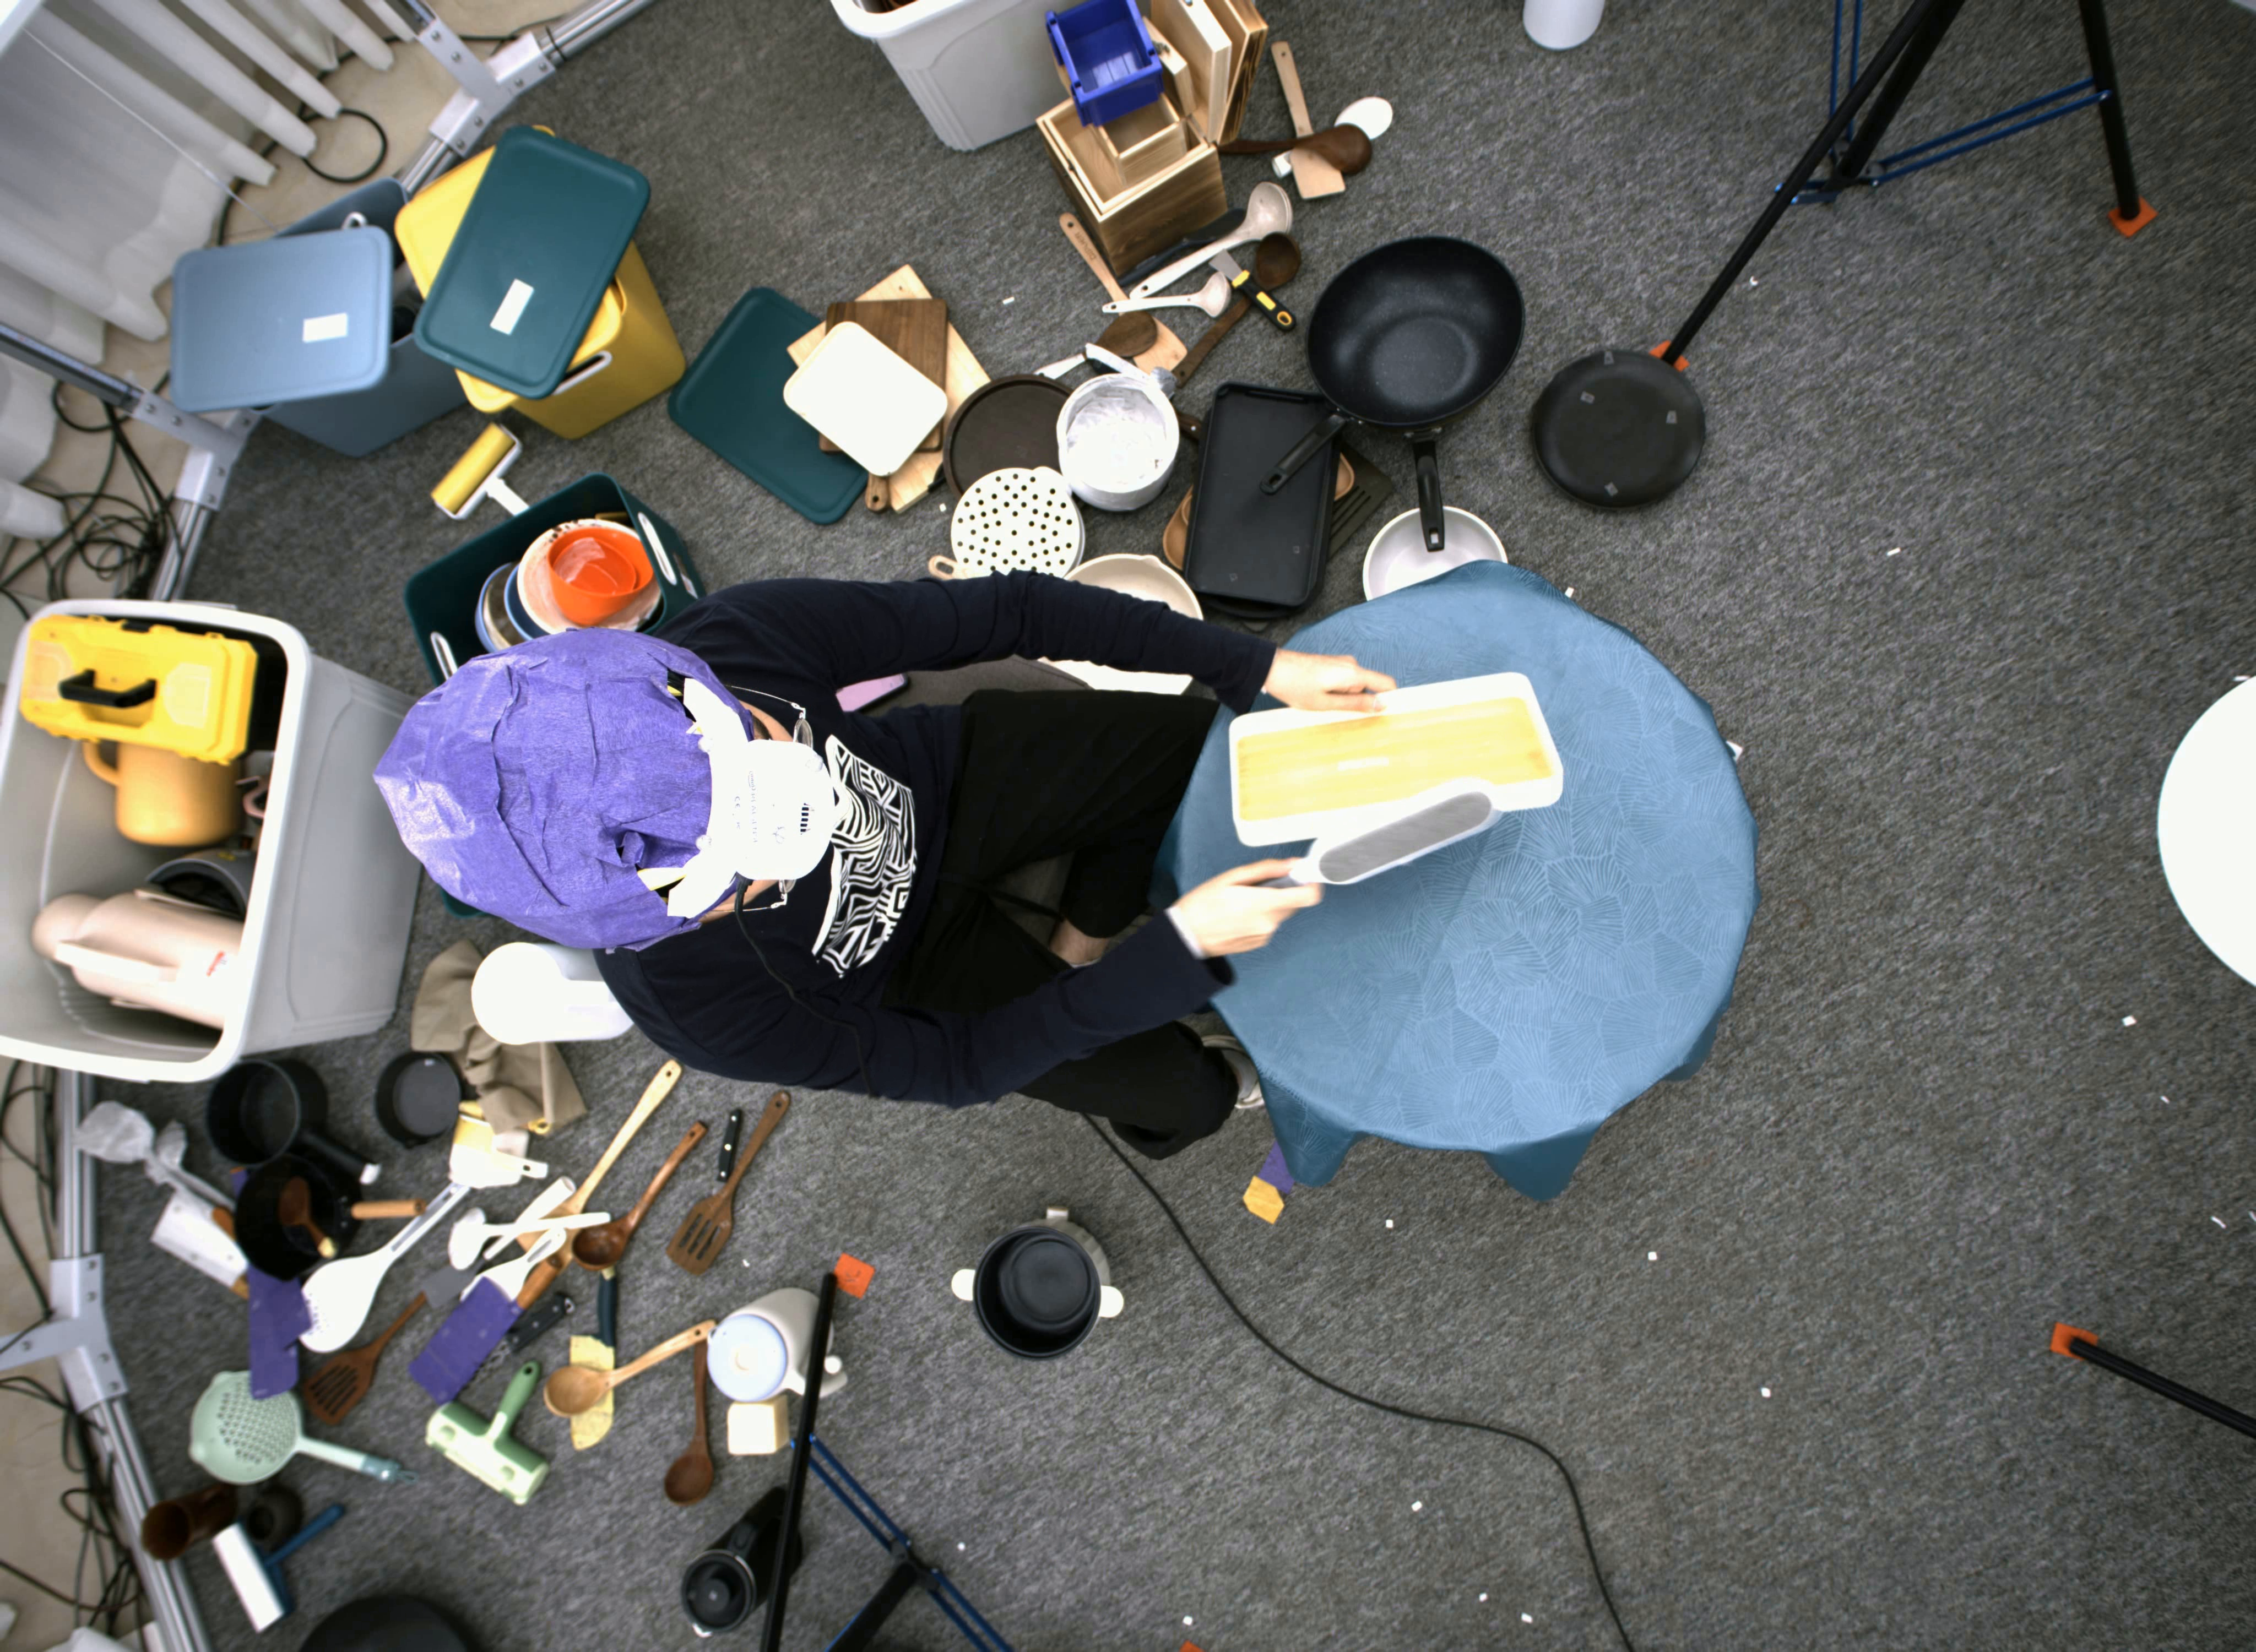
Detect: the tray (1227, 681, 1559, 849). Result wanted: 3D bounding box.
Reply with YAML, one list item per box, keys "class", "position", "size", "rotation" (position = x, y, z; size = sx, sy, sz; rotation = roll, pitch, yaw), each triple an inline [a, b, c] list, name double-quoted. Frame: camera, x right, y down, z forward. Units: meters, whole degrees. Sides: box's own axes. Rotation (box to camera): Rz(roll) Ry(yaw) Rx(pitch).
- class: "tray"
  position: [0.246, -0.062, 1.321]
  size: [0.302, 0.186, 0.028]
  rotation: [-8, 128, 10]

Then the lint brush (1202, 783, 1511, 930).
- class: "lint brush"
  position: [0.204, 0.031, 1.268]
  size: [0.313, 0.061, 0.020]
  rotation: [-24, 42, 22]
